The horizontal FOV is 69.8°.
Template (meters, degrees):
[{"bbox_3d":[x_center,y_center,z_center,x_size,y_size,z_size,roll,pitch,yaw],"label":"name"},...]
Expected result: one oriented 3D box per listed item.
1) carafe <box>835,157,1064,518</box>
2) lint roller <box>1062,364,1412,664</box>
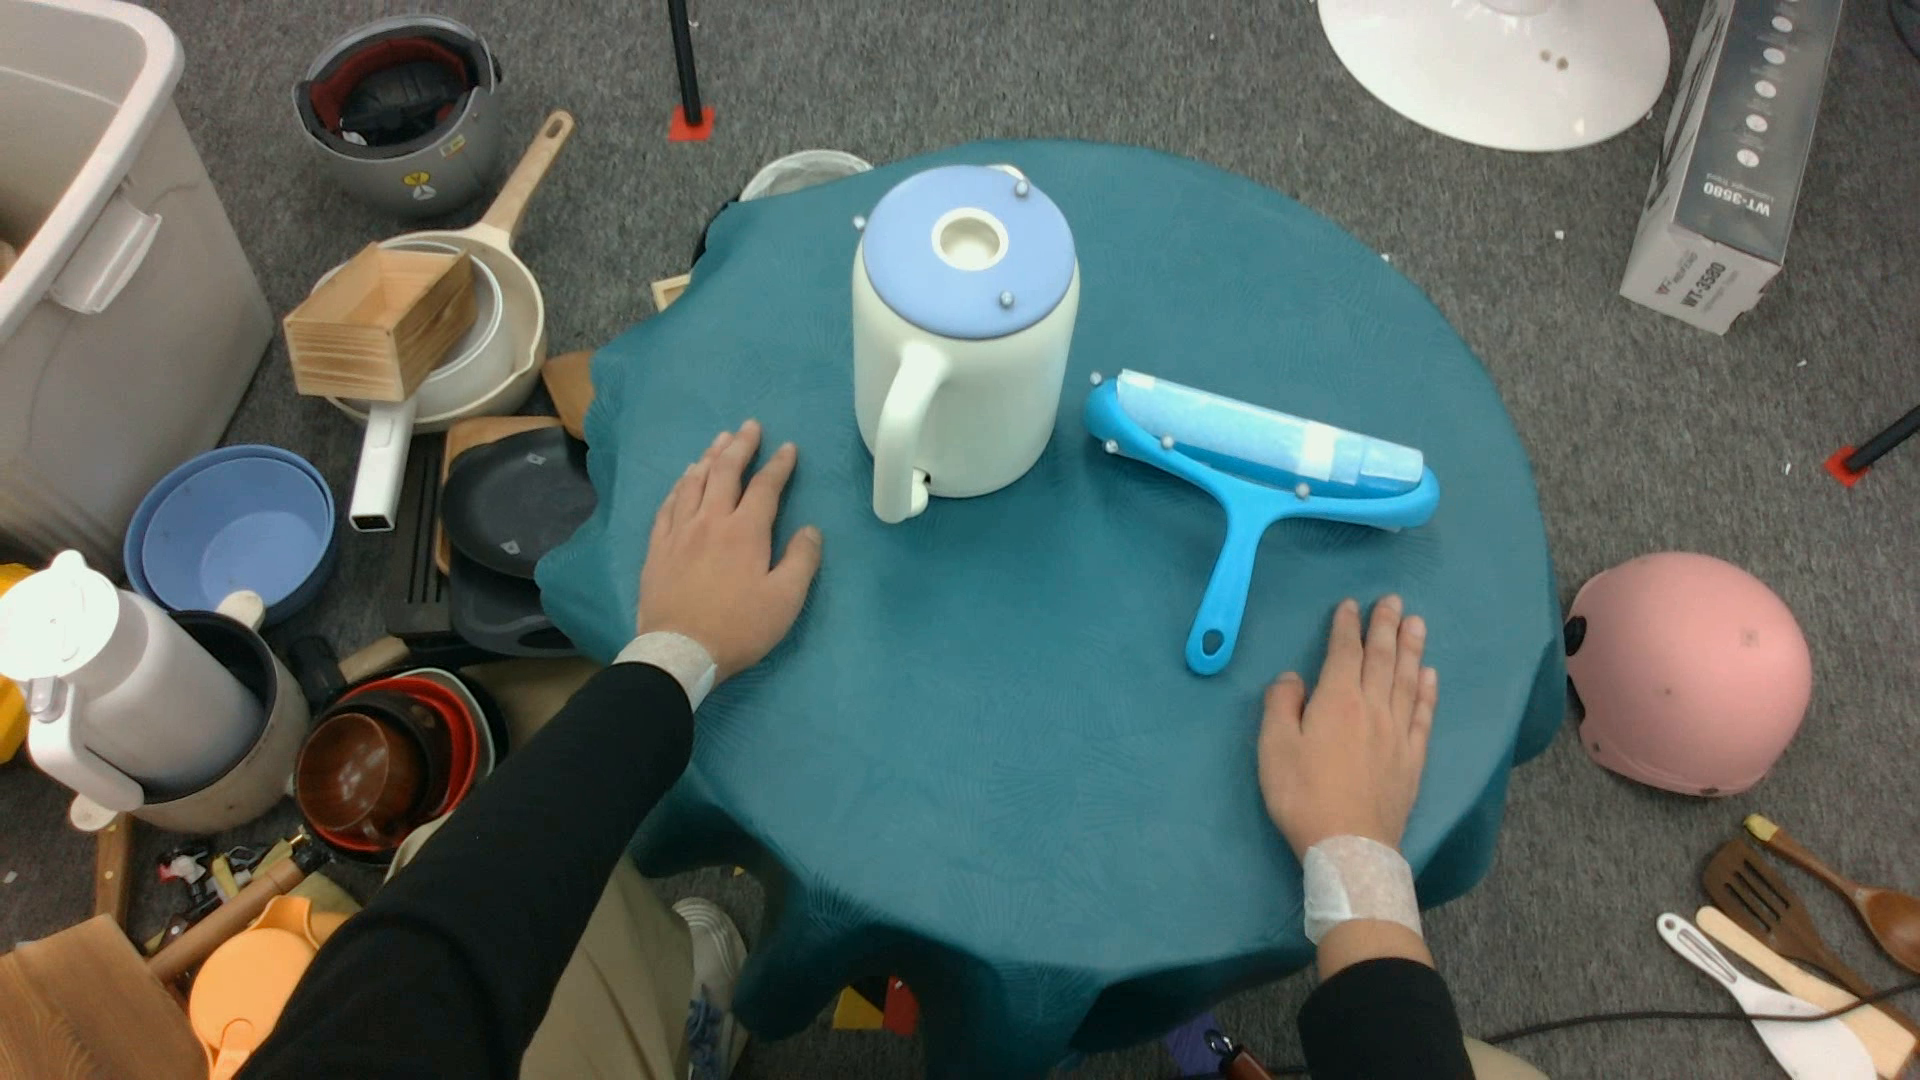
[{"bbox_3d":[-0.017,-0.105,0.819,0.132,0.182,0.192,18,64,6],"label":"carafe"},{"bbox_3d":[0.162,-0.013,0.847,0.229,0.067,0.181,16,56,0],"label":"lint roller"}]
